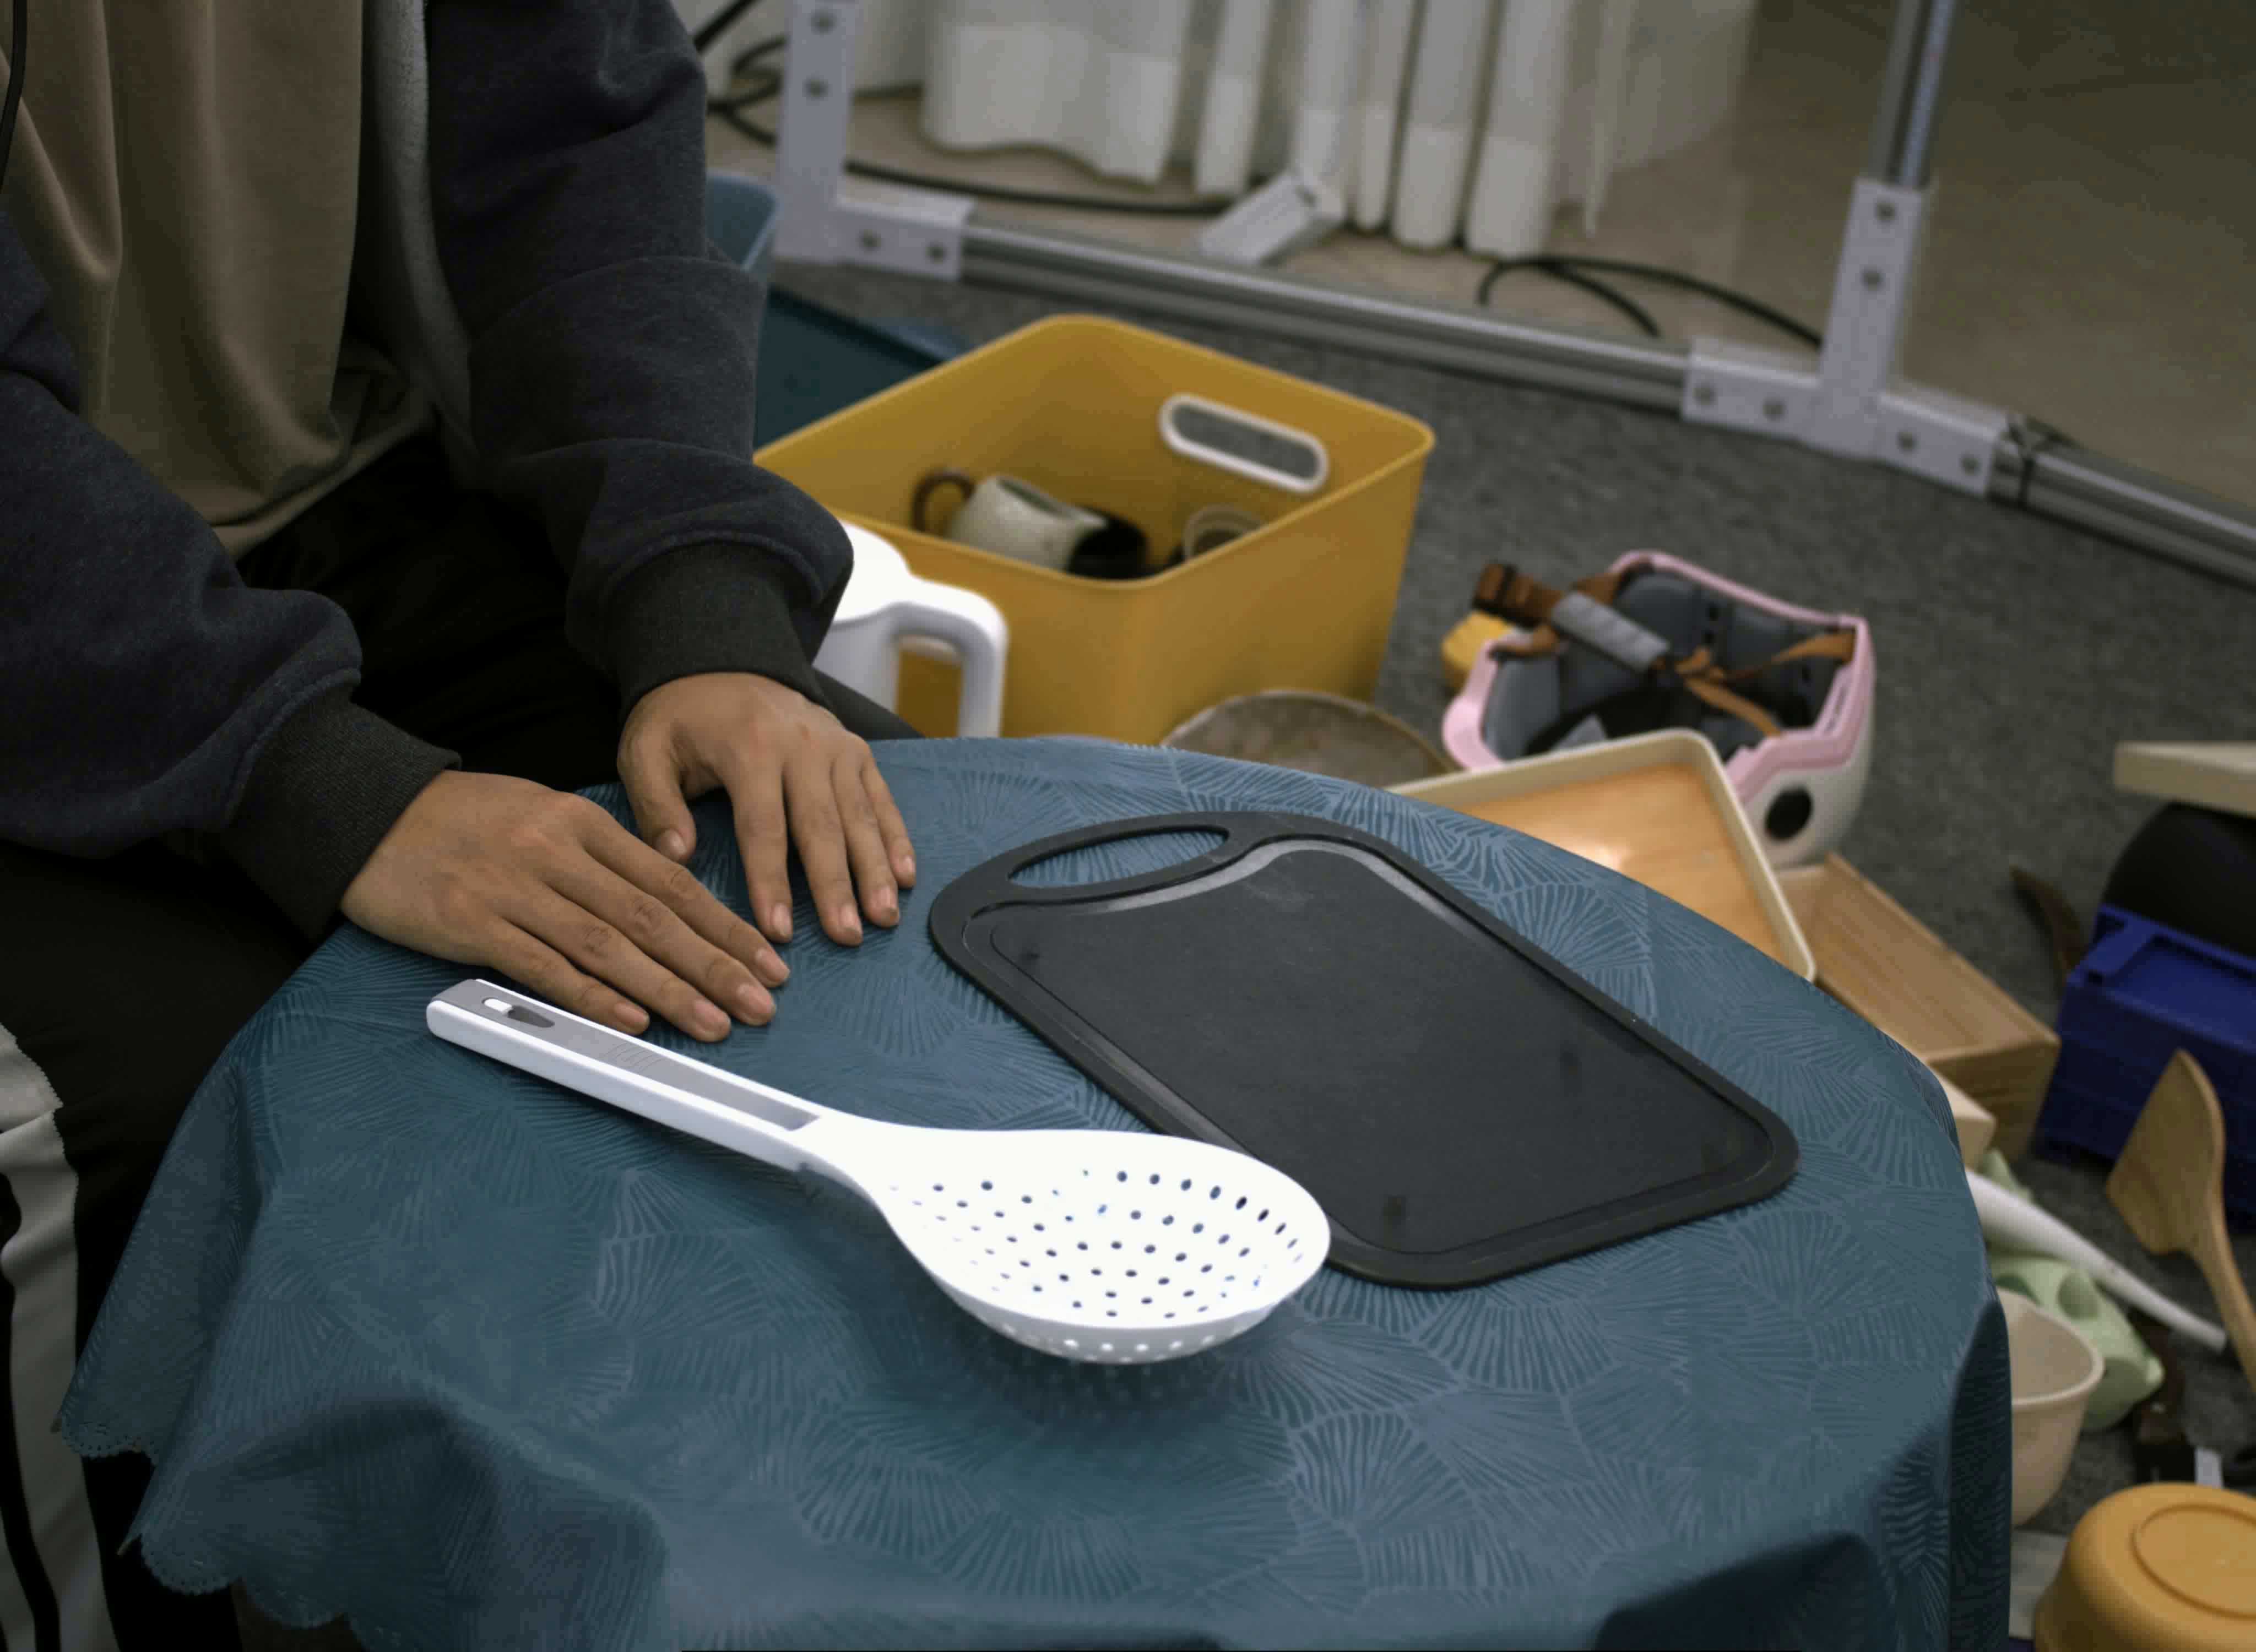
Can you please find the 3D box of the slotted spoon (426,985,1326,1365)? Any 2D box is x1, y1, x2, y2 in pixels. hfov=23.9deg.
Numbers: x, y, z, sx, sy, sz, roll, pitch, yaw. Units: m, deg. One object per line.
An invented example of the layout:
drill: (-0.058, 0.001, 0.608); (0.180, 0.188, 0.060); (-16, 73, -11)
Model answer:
slotted spoon: (-0.094, 0.108, 1.761); (0.352, 0.045, 0.135); (21, 28, 29)

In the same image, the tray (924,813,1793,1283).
tray: (0.074, 0.070, 1.916); (0.210, 0.010, 0.328); (-13, 32, -33)
